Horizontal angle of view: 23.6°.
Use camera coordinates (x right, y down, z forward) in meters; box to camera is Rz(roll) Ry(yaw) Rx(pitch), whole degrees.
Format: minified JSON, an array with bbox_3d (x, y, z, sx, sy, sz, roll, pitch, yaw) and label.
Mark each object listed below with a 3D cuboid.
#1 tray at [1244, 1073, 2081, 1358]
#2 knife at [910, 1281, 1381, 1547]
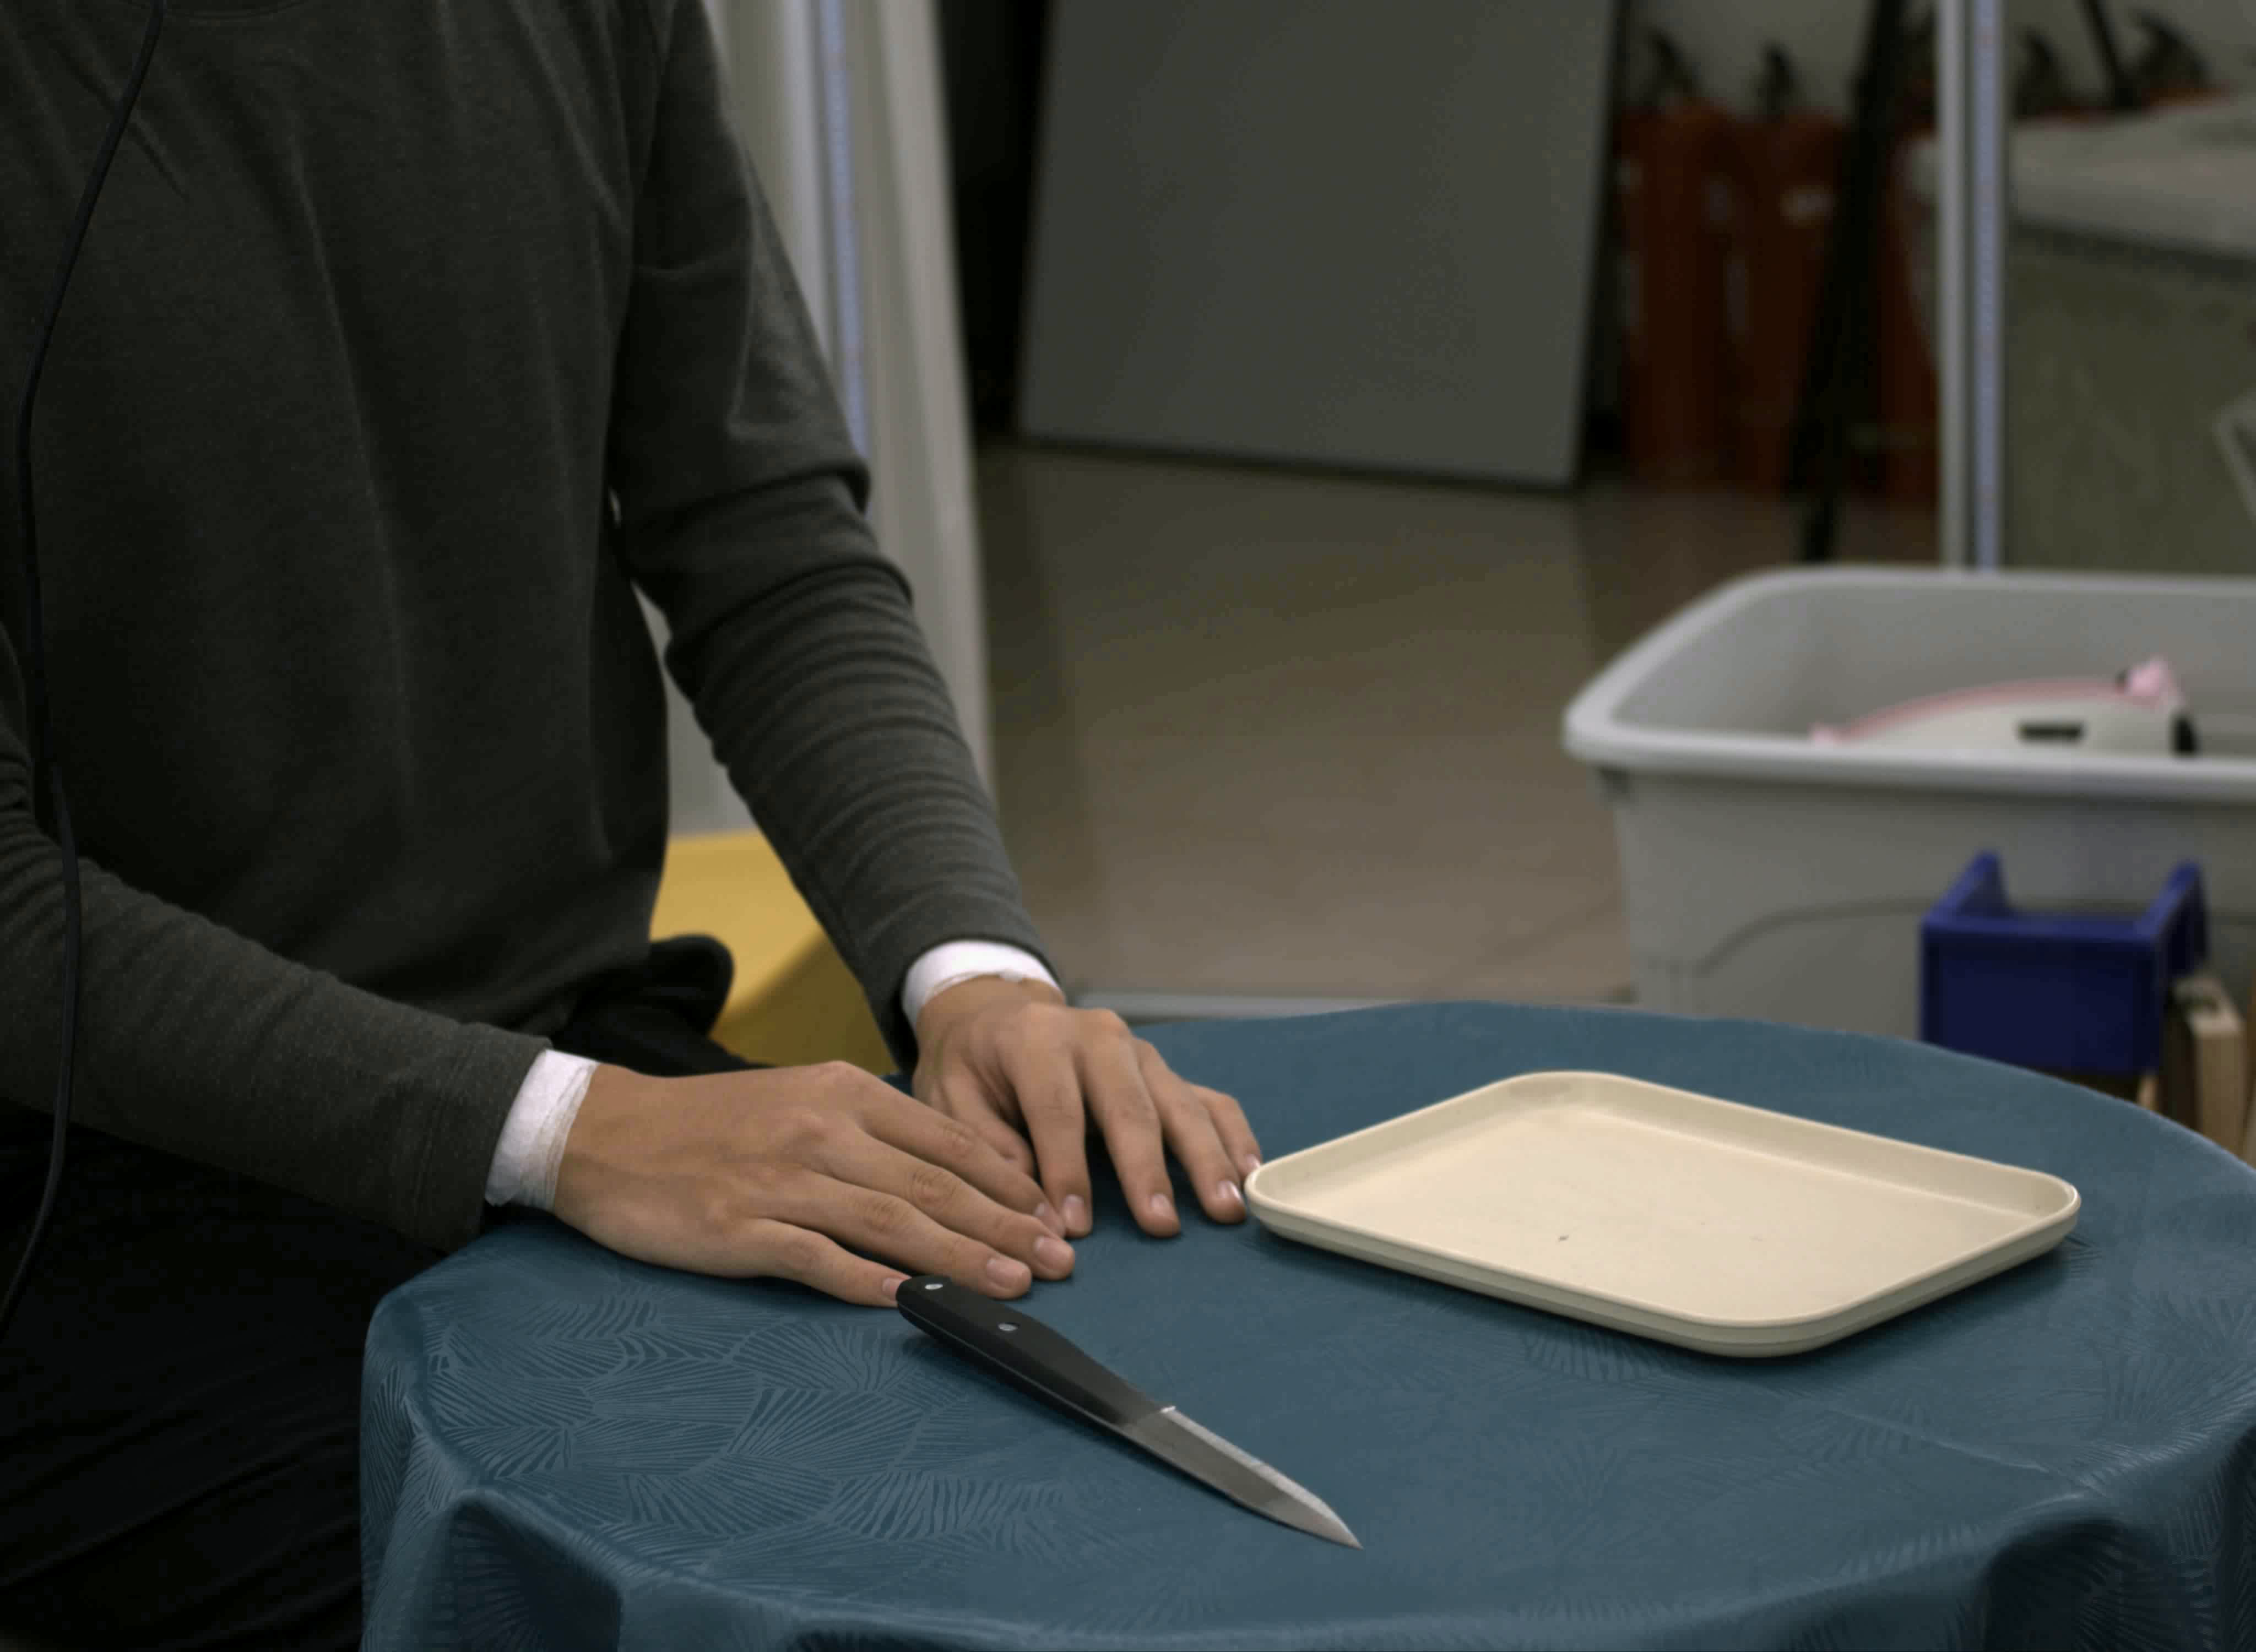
[{"bbox_3d":[0.166,0.121,1.689,0.168,0.017,0.242,-17,18,-39],"label":"tray"},{"bbox_3d":[0.001,0.170,1.549,0.024,0.016,0.241,-14,19,-30],"label":"knife"}]
